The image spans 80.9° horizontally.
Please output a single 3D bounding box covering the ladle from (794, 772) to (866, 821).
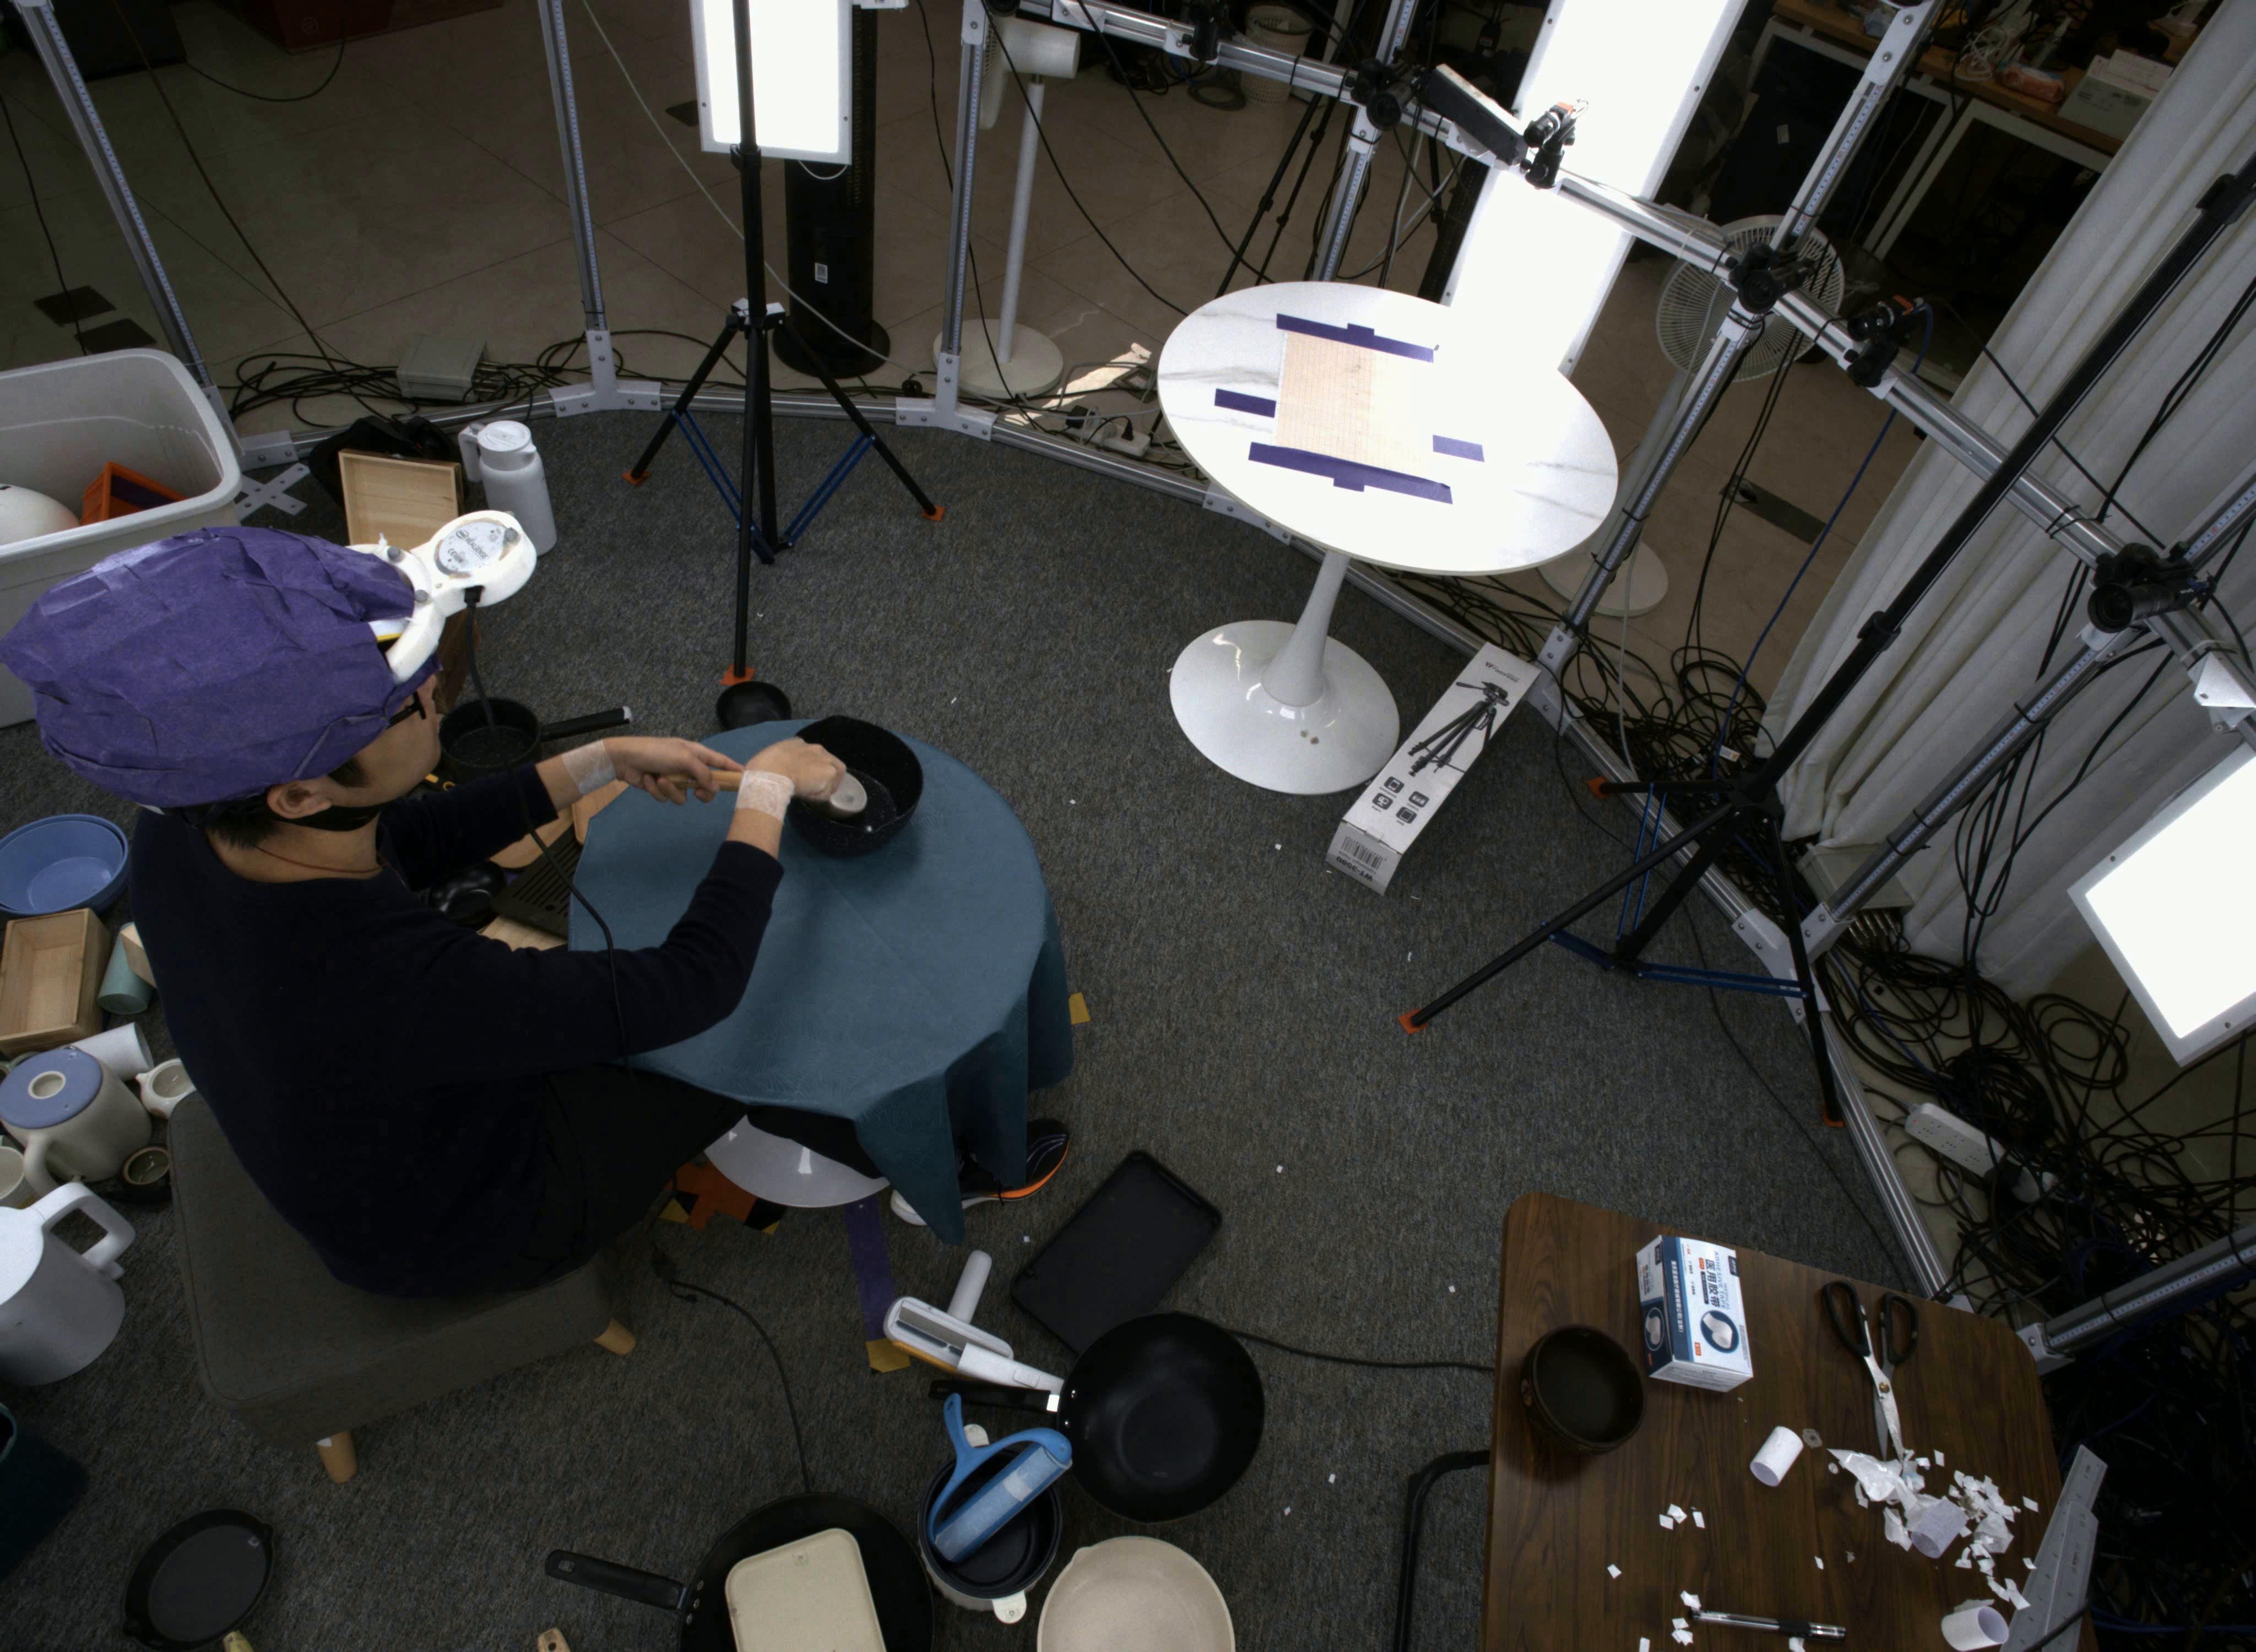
[{"bbox_3d":[-0.372,-0.059,1.591,0.089,0.274,0.069,28,78,-2],"label":"ladle"}]

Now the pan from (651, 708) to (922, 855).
[{"bbox_3d":[-0.435,-0.050,1.648,0.347,0.109,0.203,-5,57,-31],"label":"pan"}]
